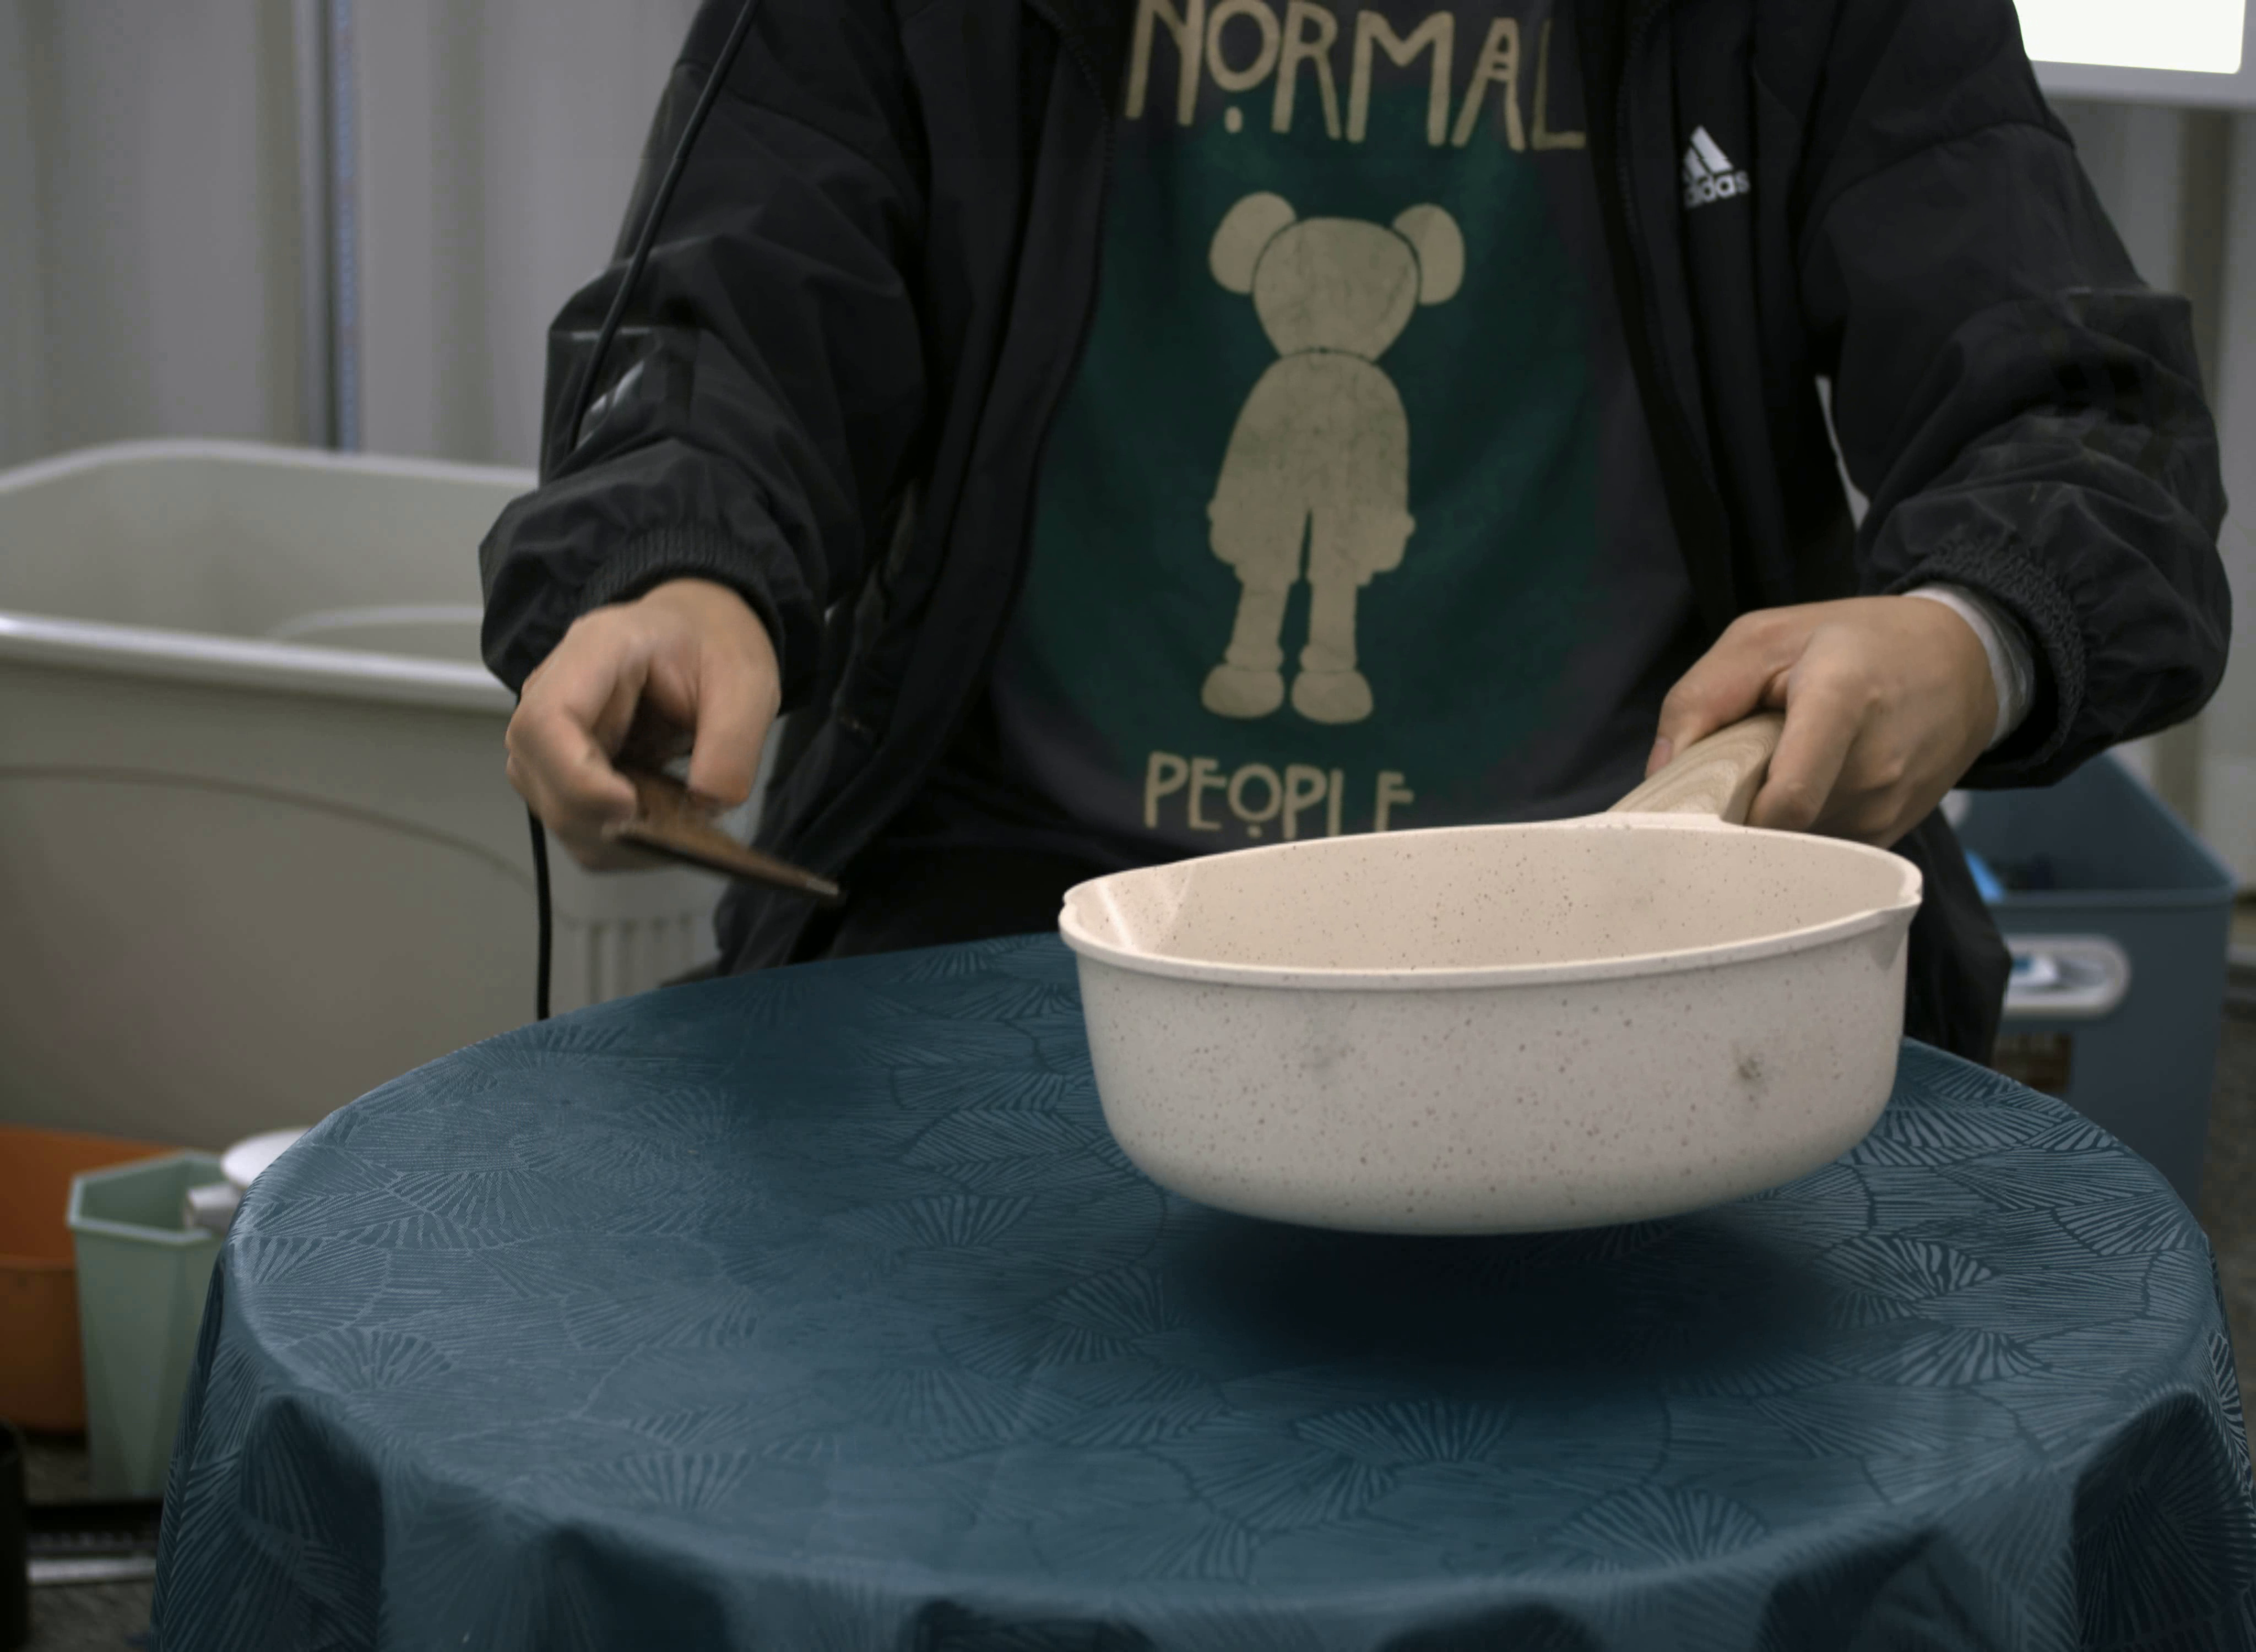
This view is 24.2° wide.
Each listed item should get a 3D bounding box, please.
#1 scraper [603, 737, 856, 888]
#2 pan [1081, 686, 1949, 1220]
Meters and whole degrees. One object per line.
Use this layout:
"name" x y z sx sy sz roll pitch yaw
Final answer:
"scraper" -0.138 -0.007 1.647 0.076 0.011 0.209 16 6 -16
"pan" 0.152 0.035 1.616 0.261 0.102 0.436 -1 8 25
